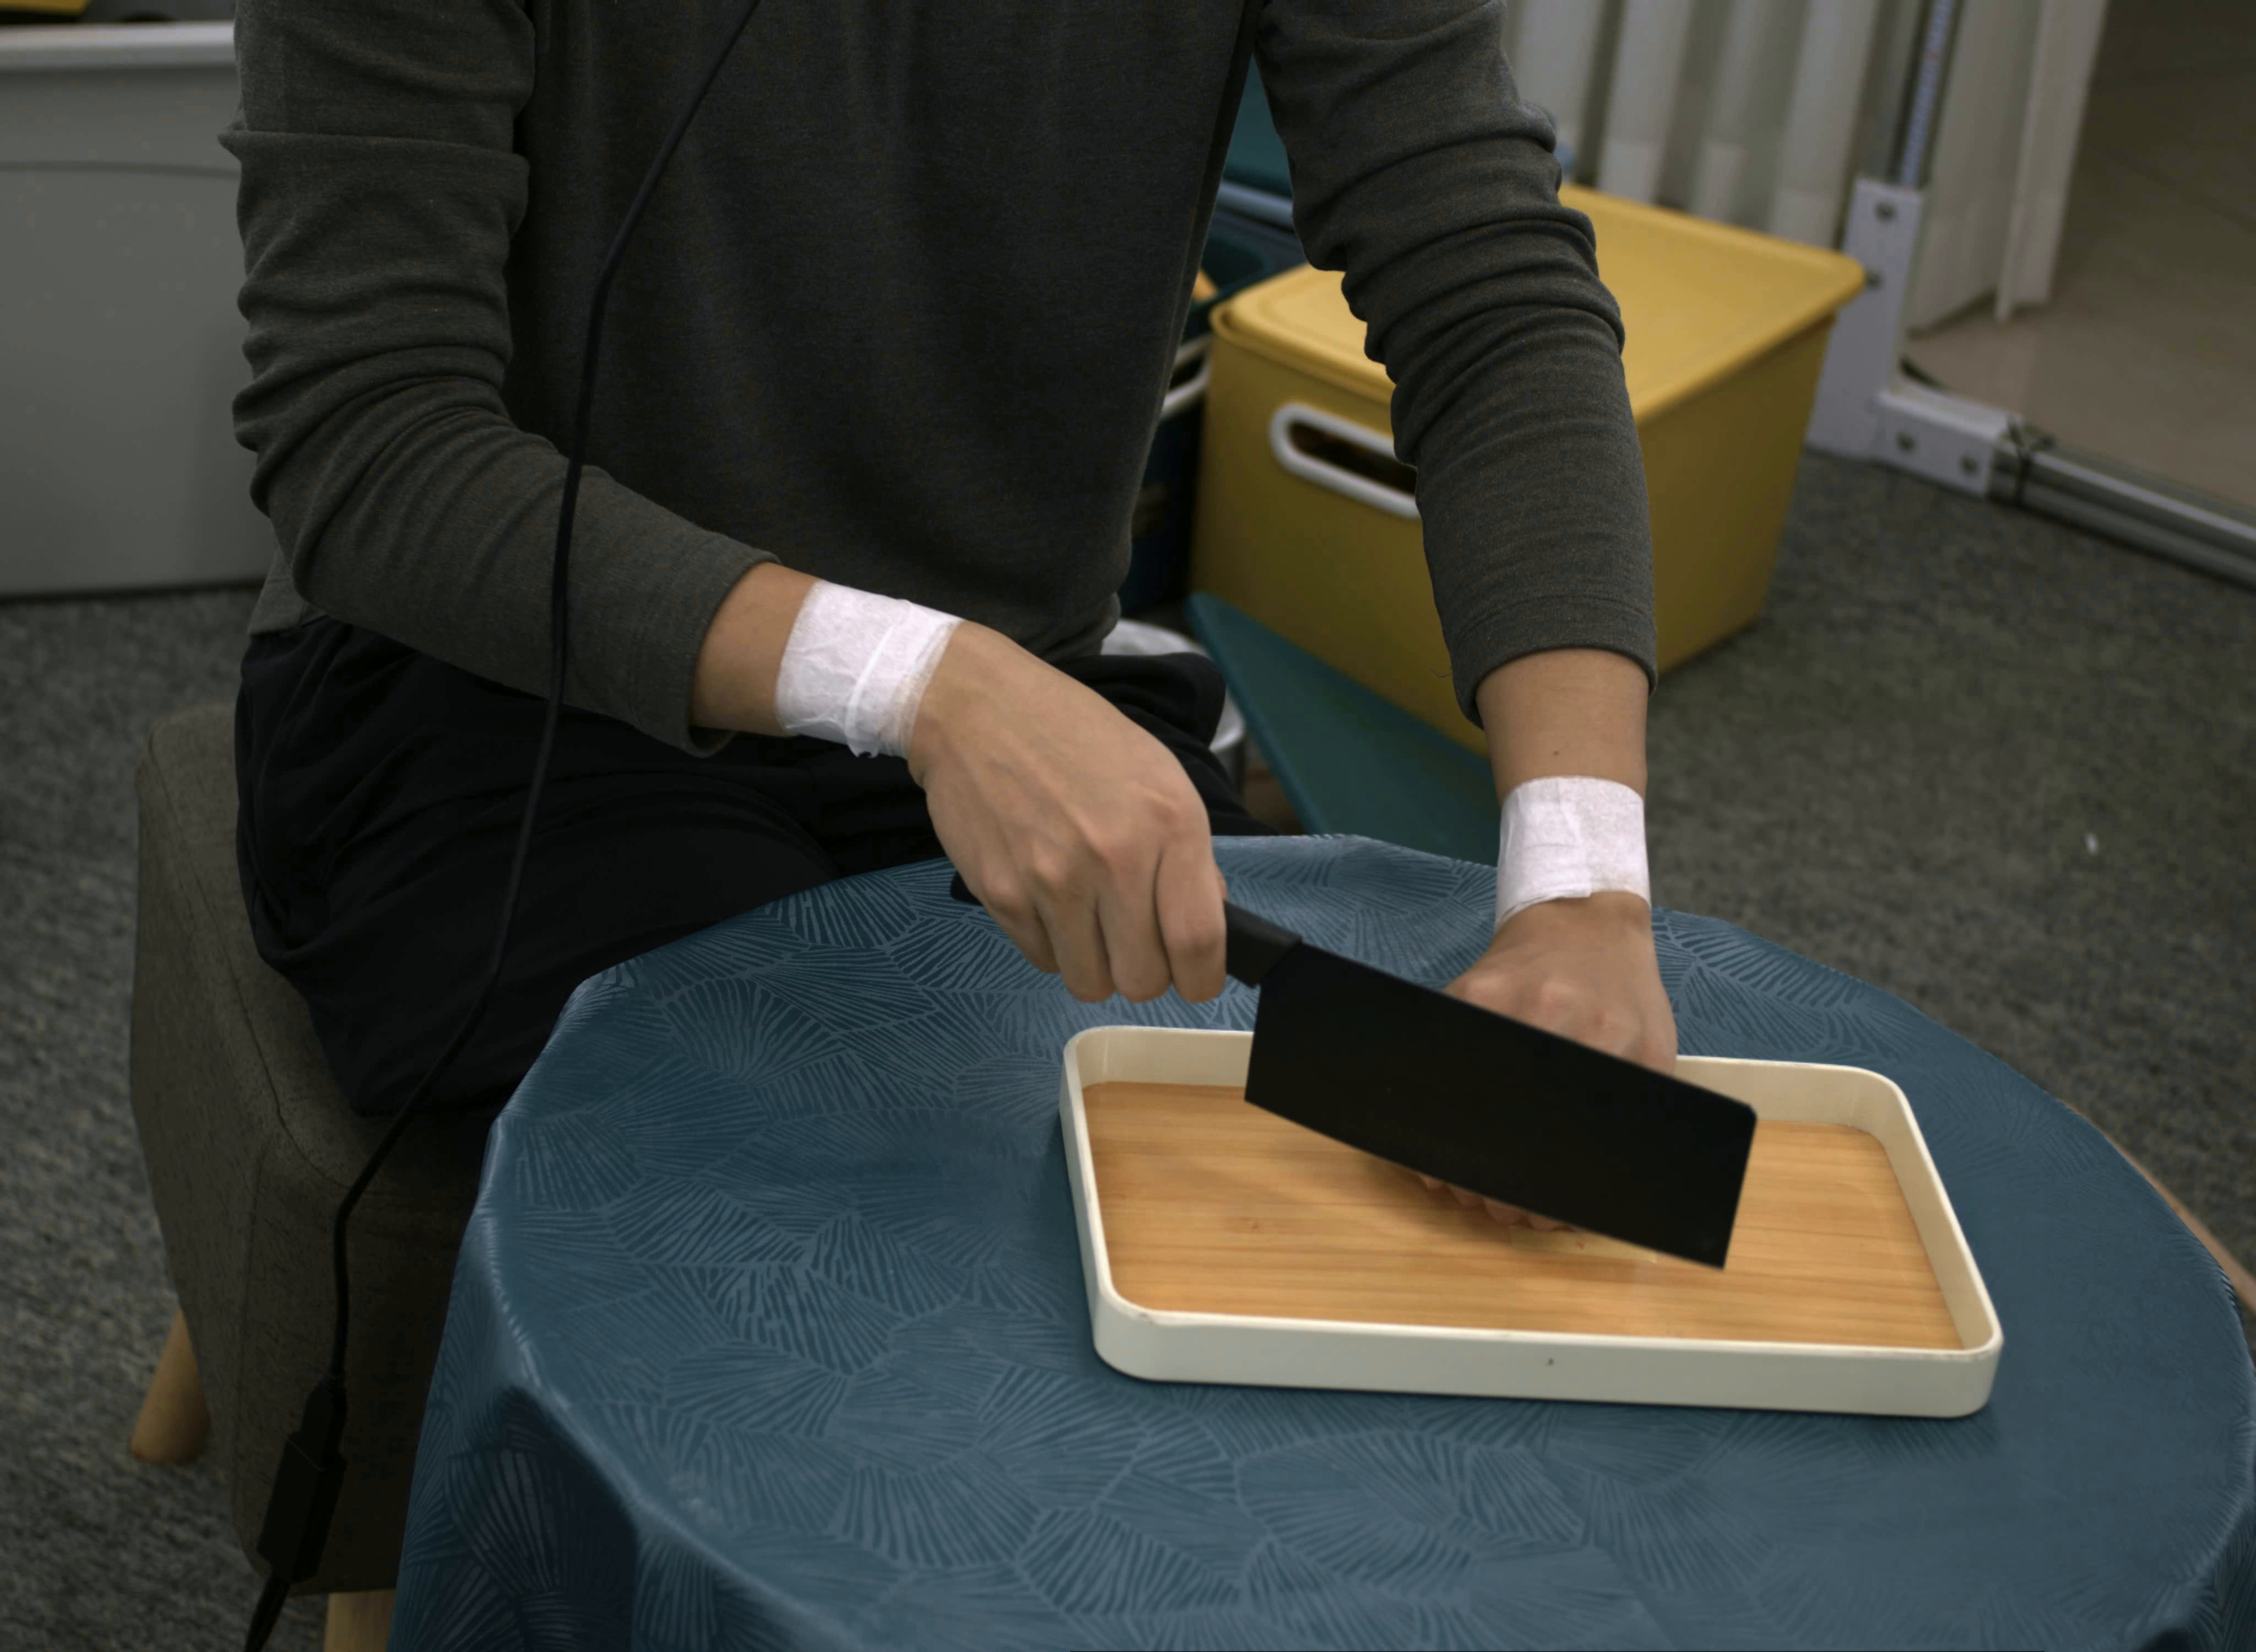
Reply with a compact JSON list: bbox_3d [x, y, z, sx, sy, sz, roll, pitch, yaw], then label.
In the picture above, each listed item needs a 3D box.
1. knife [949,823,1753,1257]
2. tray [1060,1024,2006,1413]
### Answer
[{"bbox_3d":[0.070,0.067,1.774,0.304,0.081,0.021,24,26,24],"label":"knife"},{"bbox_3d":[0.131,0.131,1.791,0.299,0.027,0.193,4,27,-6],"label":"tray"}]
